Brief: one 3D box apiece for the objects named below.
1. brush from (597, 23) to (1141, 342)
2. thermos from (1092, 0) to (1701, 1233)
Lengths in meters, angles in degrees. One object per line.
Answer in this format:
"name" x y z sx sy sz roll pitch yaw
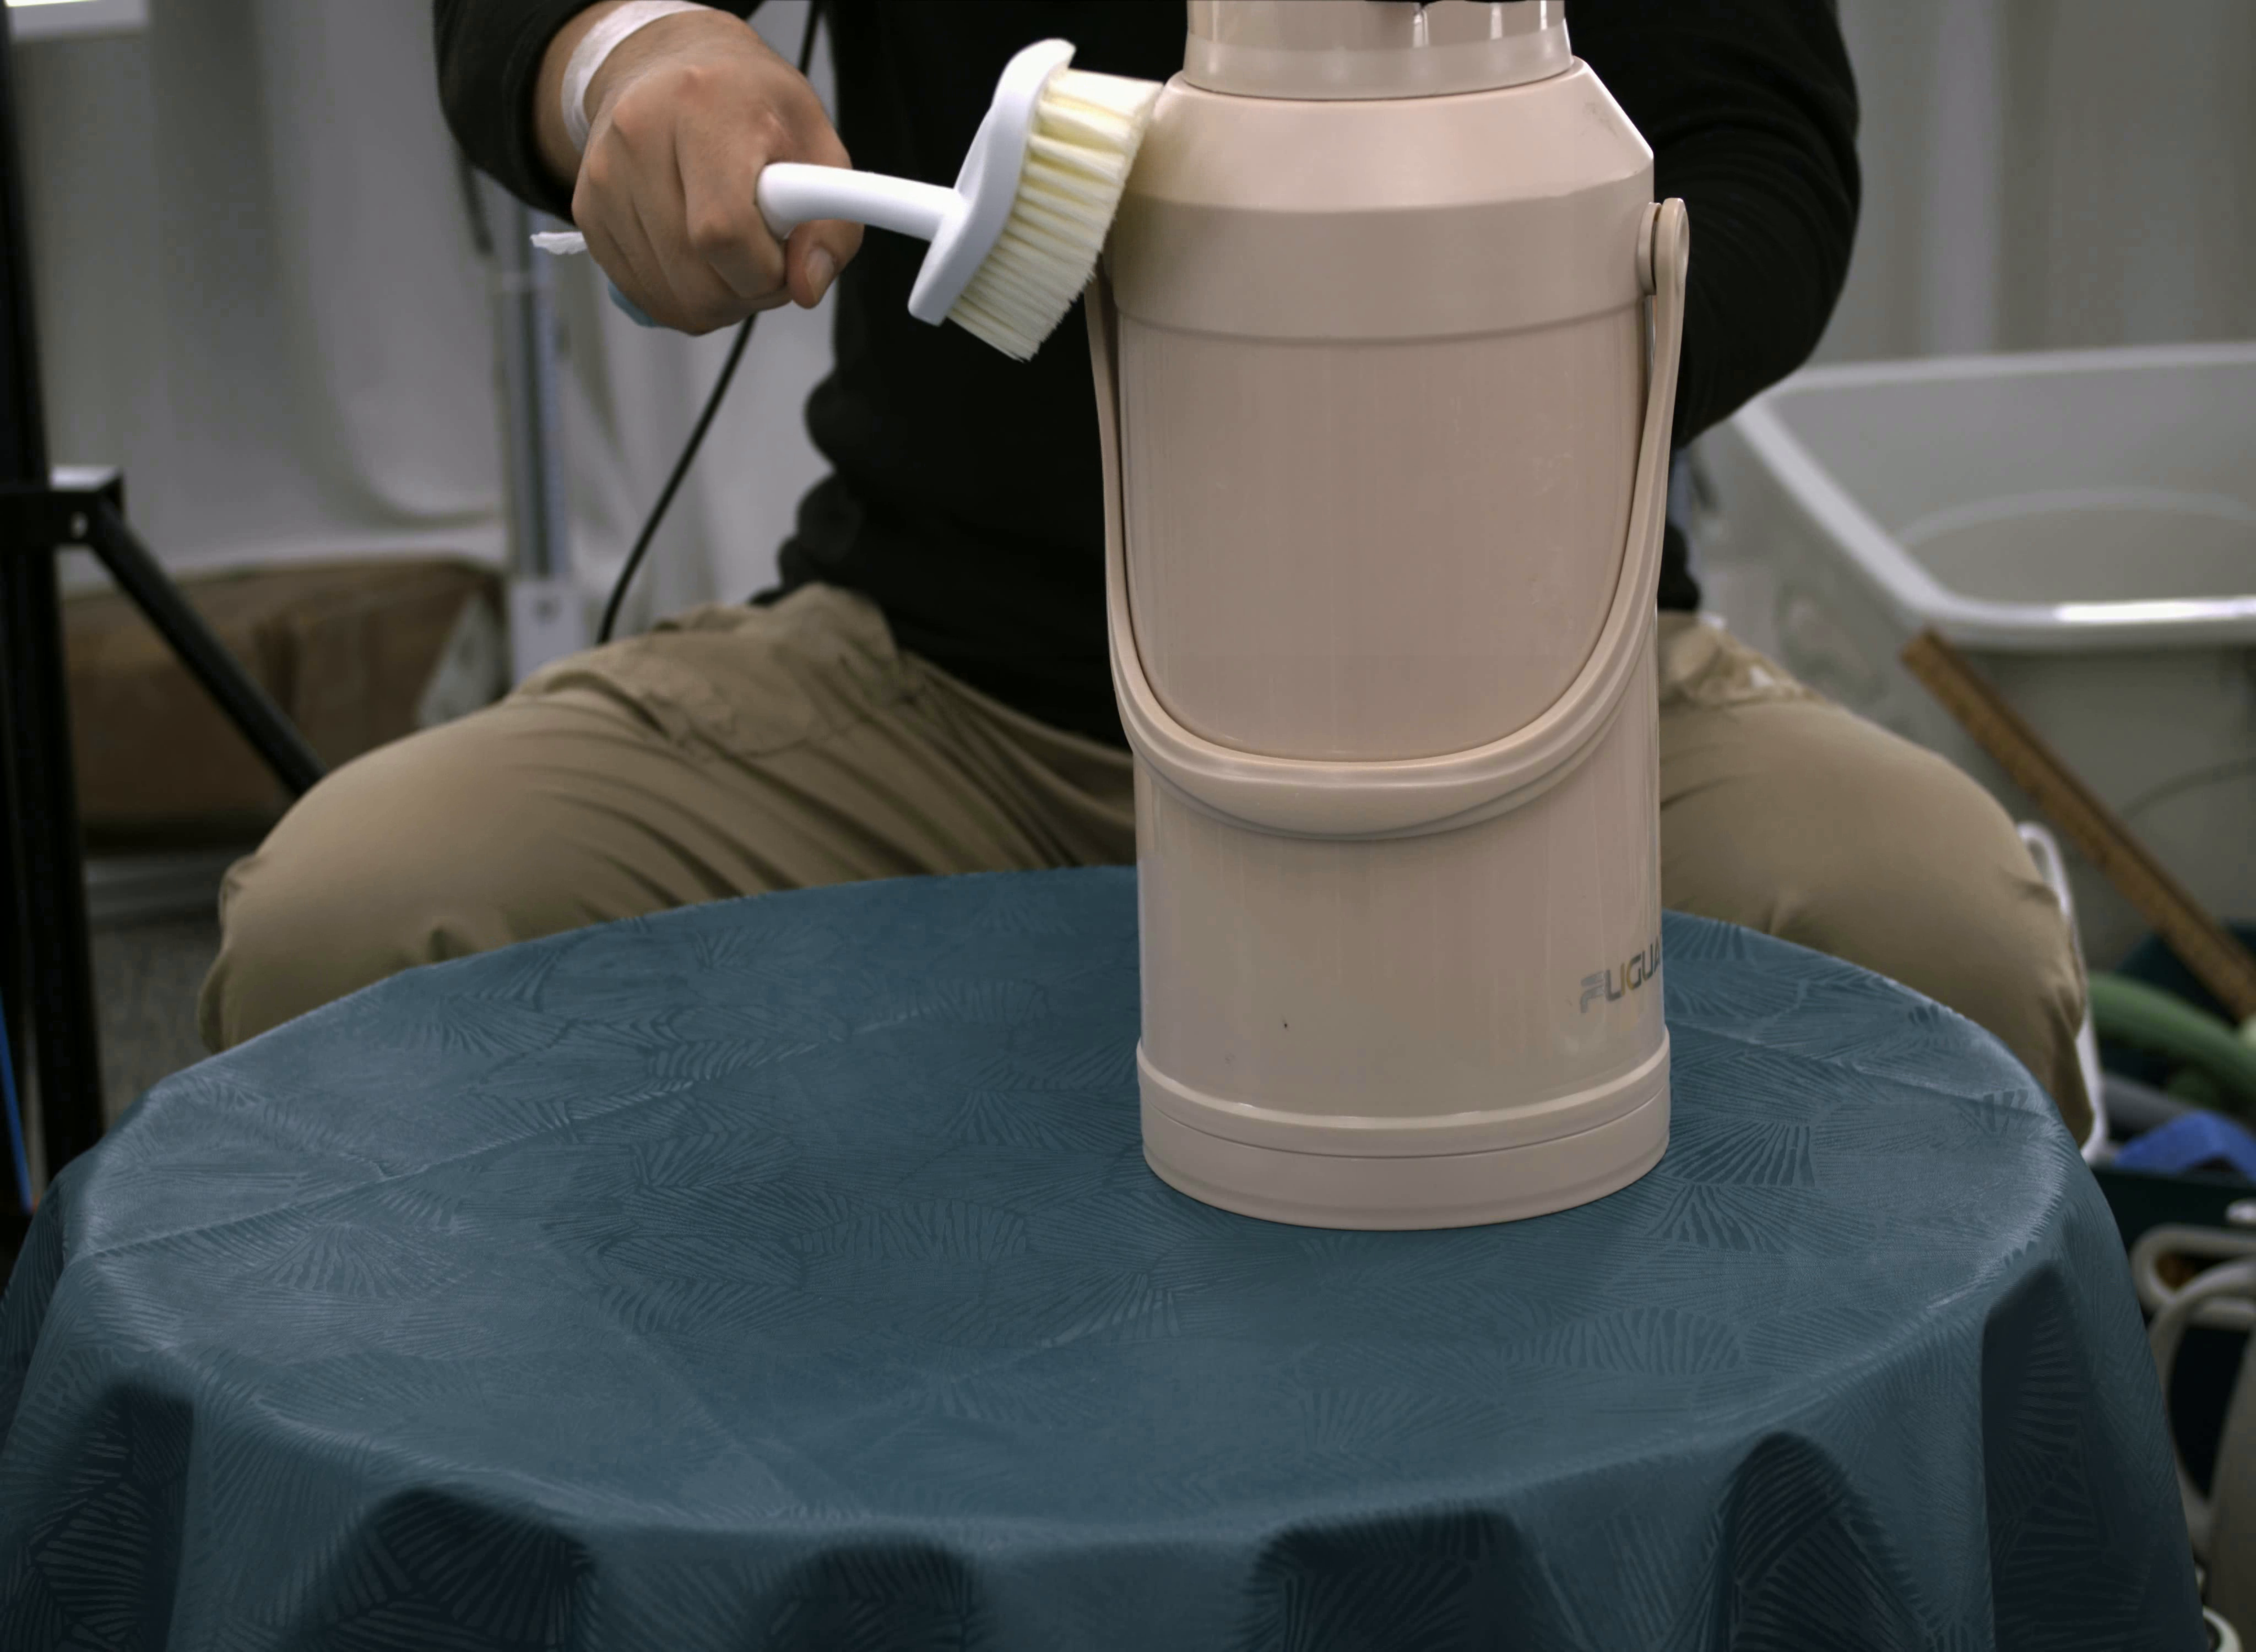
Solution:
"brush" -0.066 -0.177 1.598 0.082 0.084 0.330 -28 6 -24
"thermos" 0.084 -0.100 1.551 0.177 0.406 0.205 1 15 17
